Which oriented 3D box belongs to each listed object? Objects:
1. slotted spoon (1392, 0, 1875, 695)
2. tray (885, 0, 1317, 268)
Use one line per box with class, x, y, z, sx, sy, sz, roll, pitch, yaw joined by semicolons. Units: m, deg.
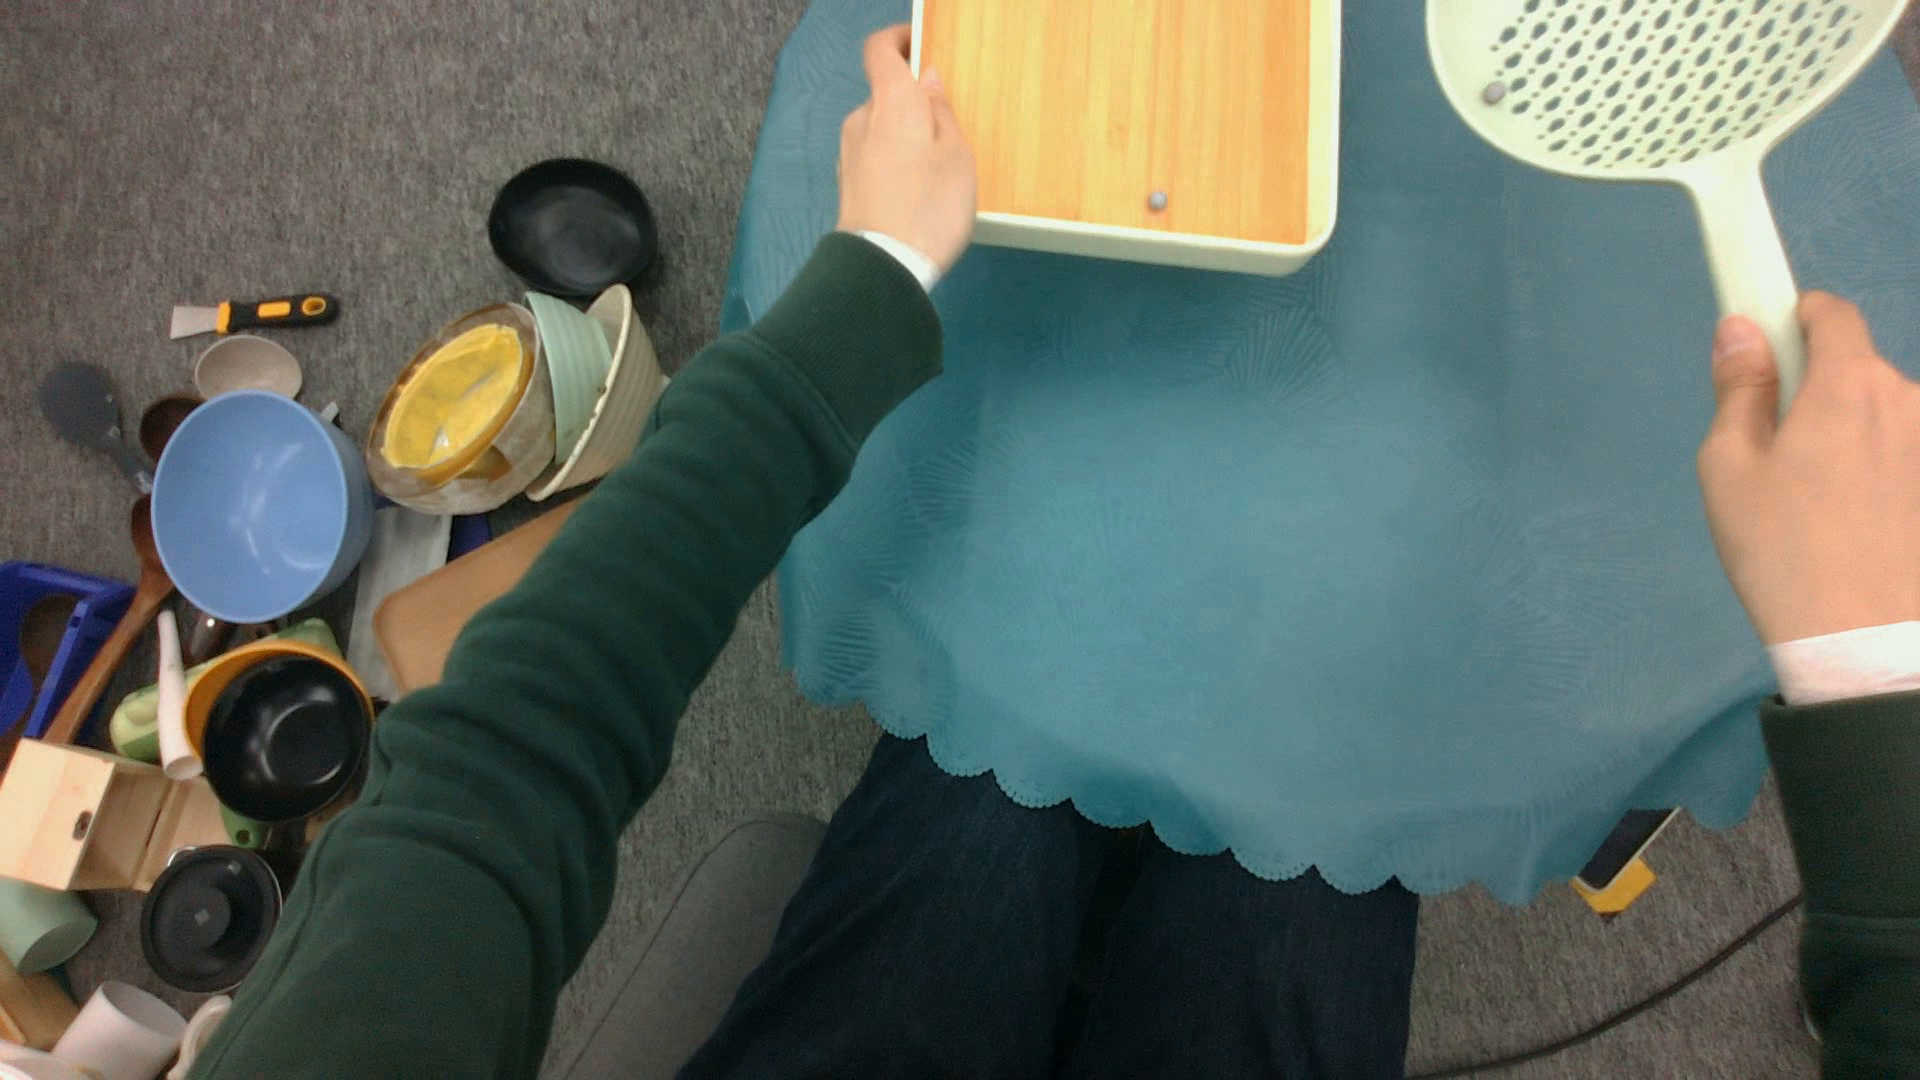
slotted spoon;0.268;-0.125;0.501;0.169;0.075;0.360;-18;63;31
tray;0.069;-0.276;0.637;0.192;0.027;0.301;5;76;-7
